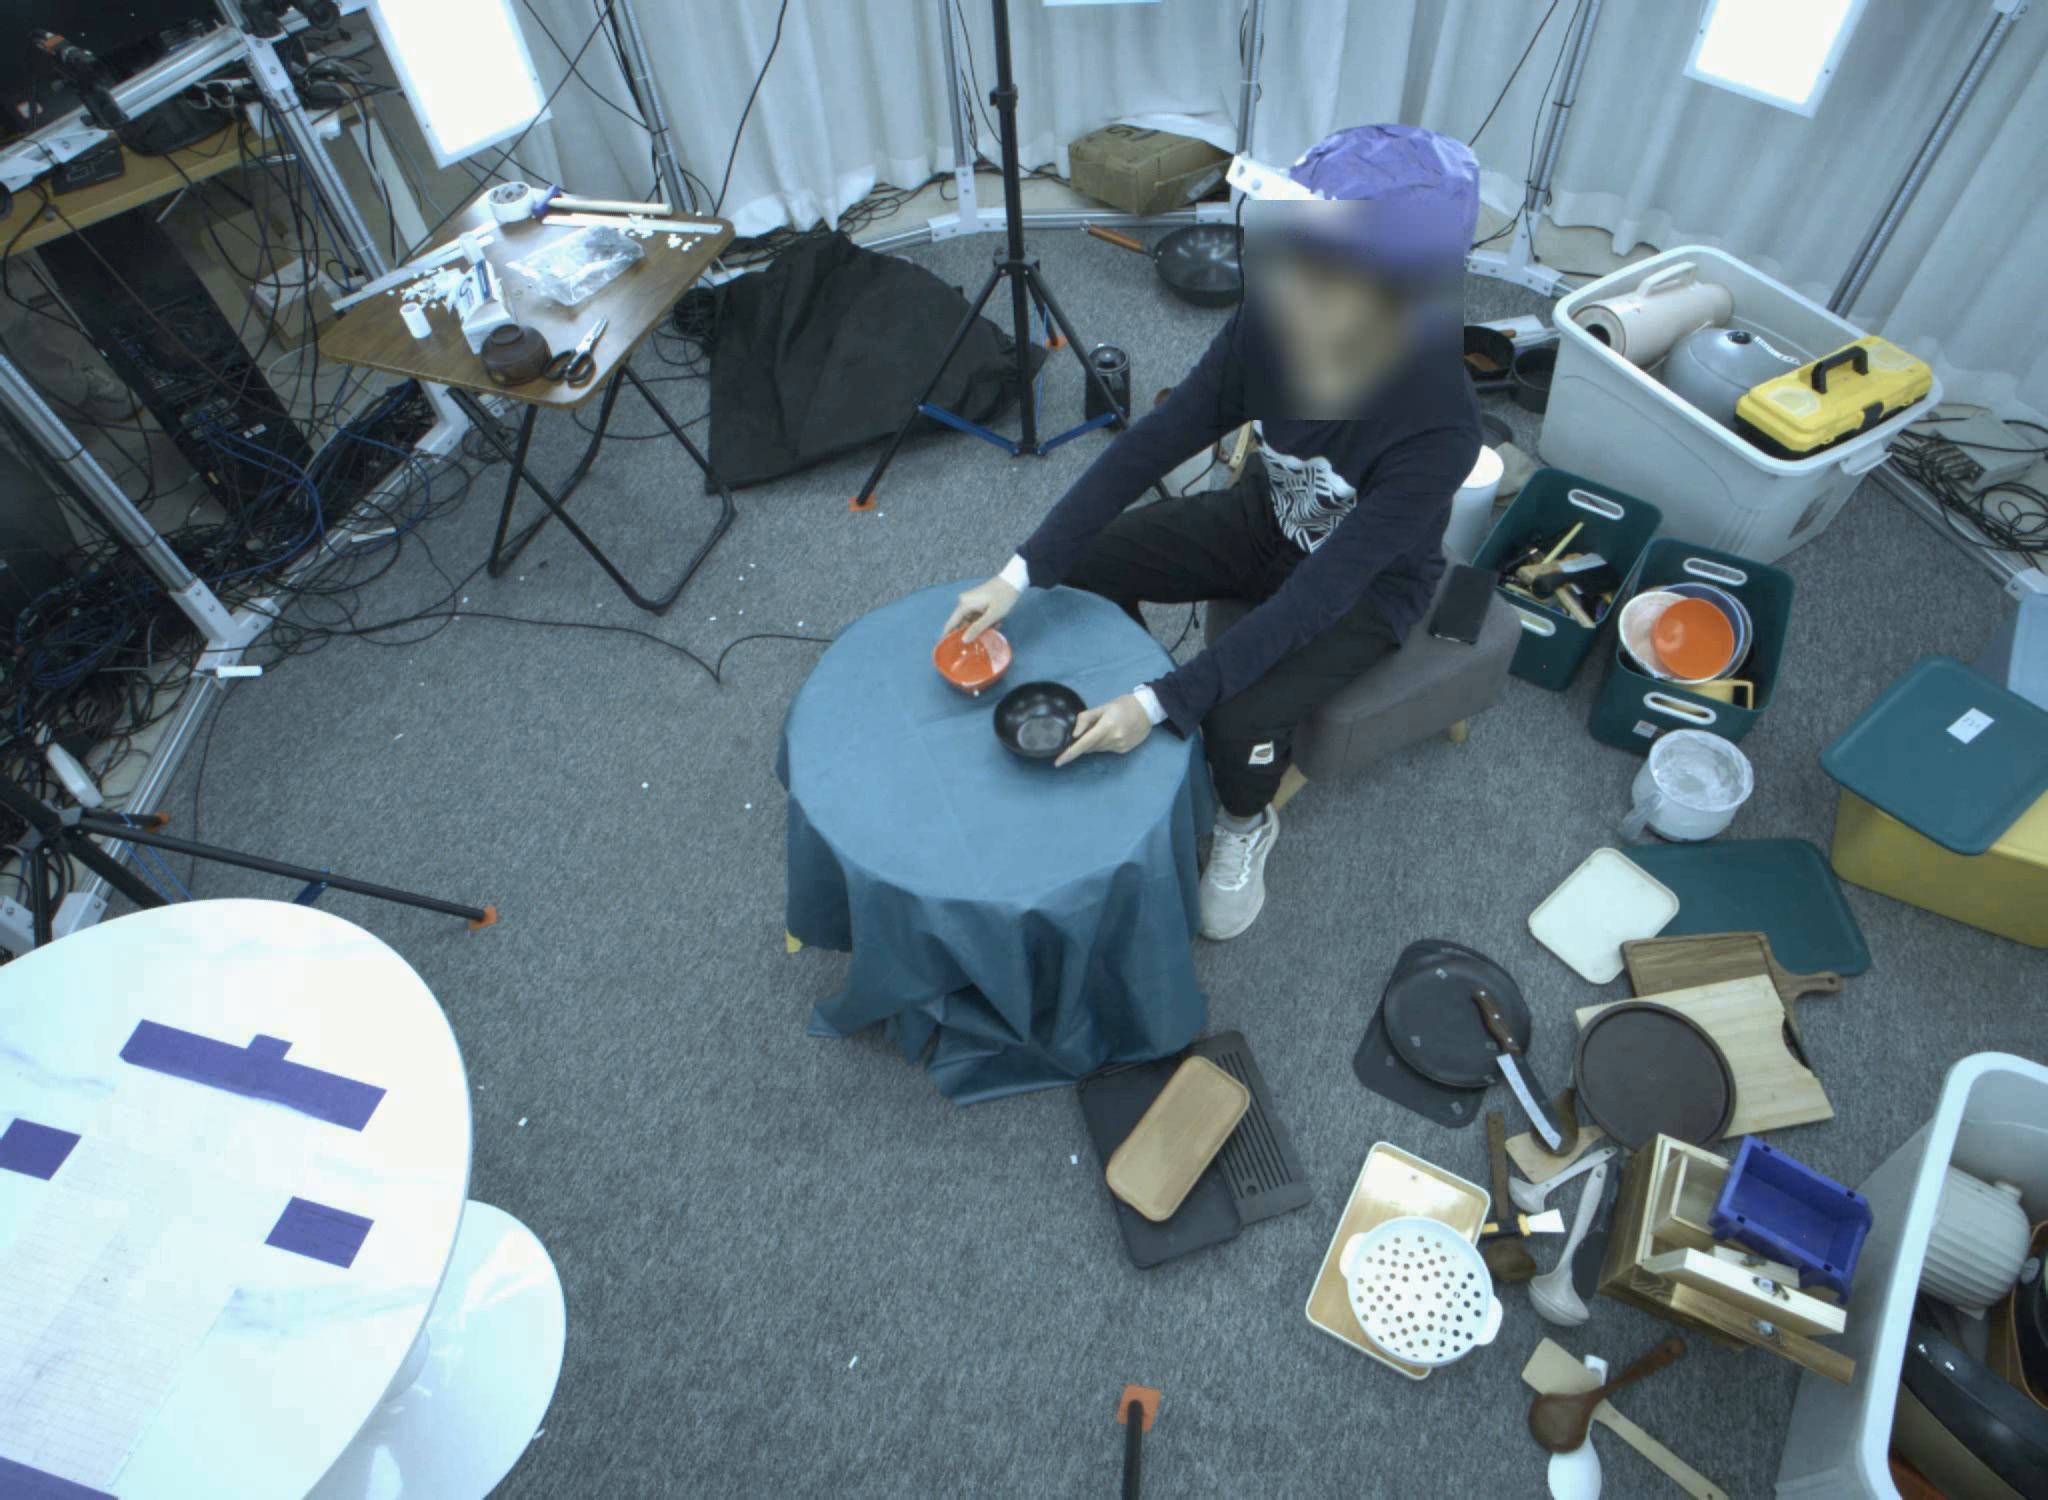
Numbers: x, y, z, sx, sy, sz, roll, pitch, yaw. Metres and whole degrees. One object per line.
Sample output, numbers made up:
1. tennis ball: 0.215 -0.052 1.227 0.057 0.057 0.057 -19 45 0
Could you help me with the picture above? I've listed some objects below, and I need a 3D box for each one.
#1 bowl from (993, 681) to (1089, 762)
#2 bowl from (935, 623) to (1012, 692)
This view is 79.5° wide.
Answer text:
1. bowl: 0.024 -0.032 1.790 0.140 0.050 0.138 1 53 -1
2. bowl: -0.073 -0.134 1.873 0.118 0.052 0.117 -5 53 8
